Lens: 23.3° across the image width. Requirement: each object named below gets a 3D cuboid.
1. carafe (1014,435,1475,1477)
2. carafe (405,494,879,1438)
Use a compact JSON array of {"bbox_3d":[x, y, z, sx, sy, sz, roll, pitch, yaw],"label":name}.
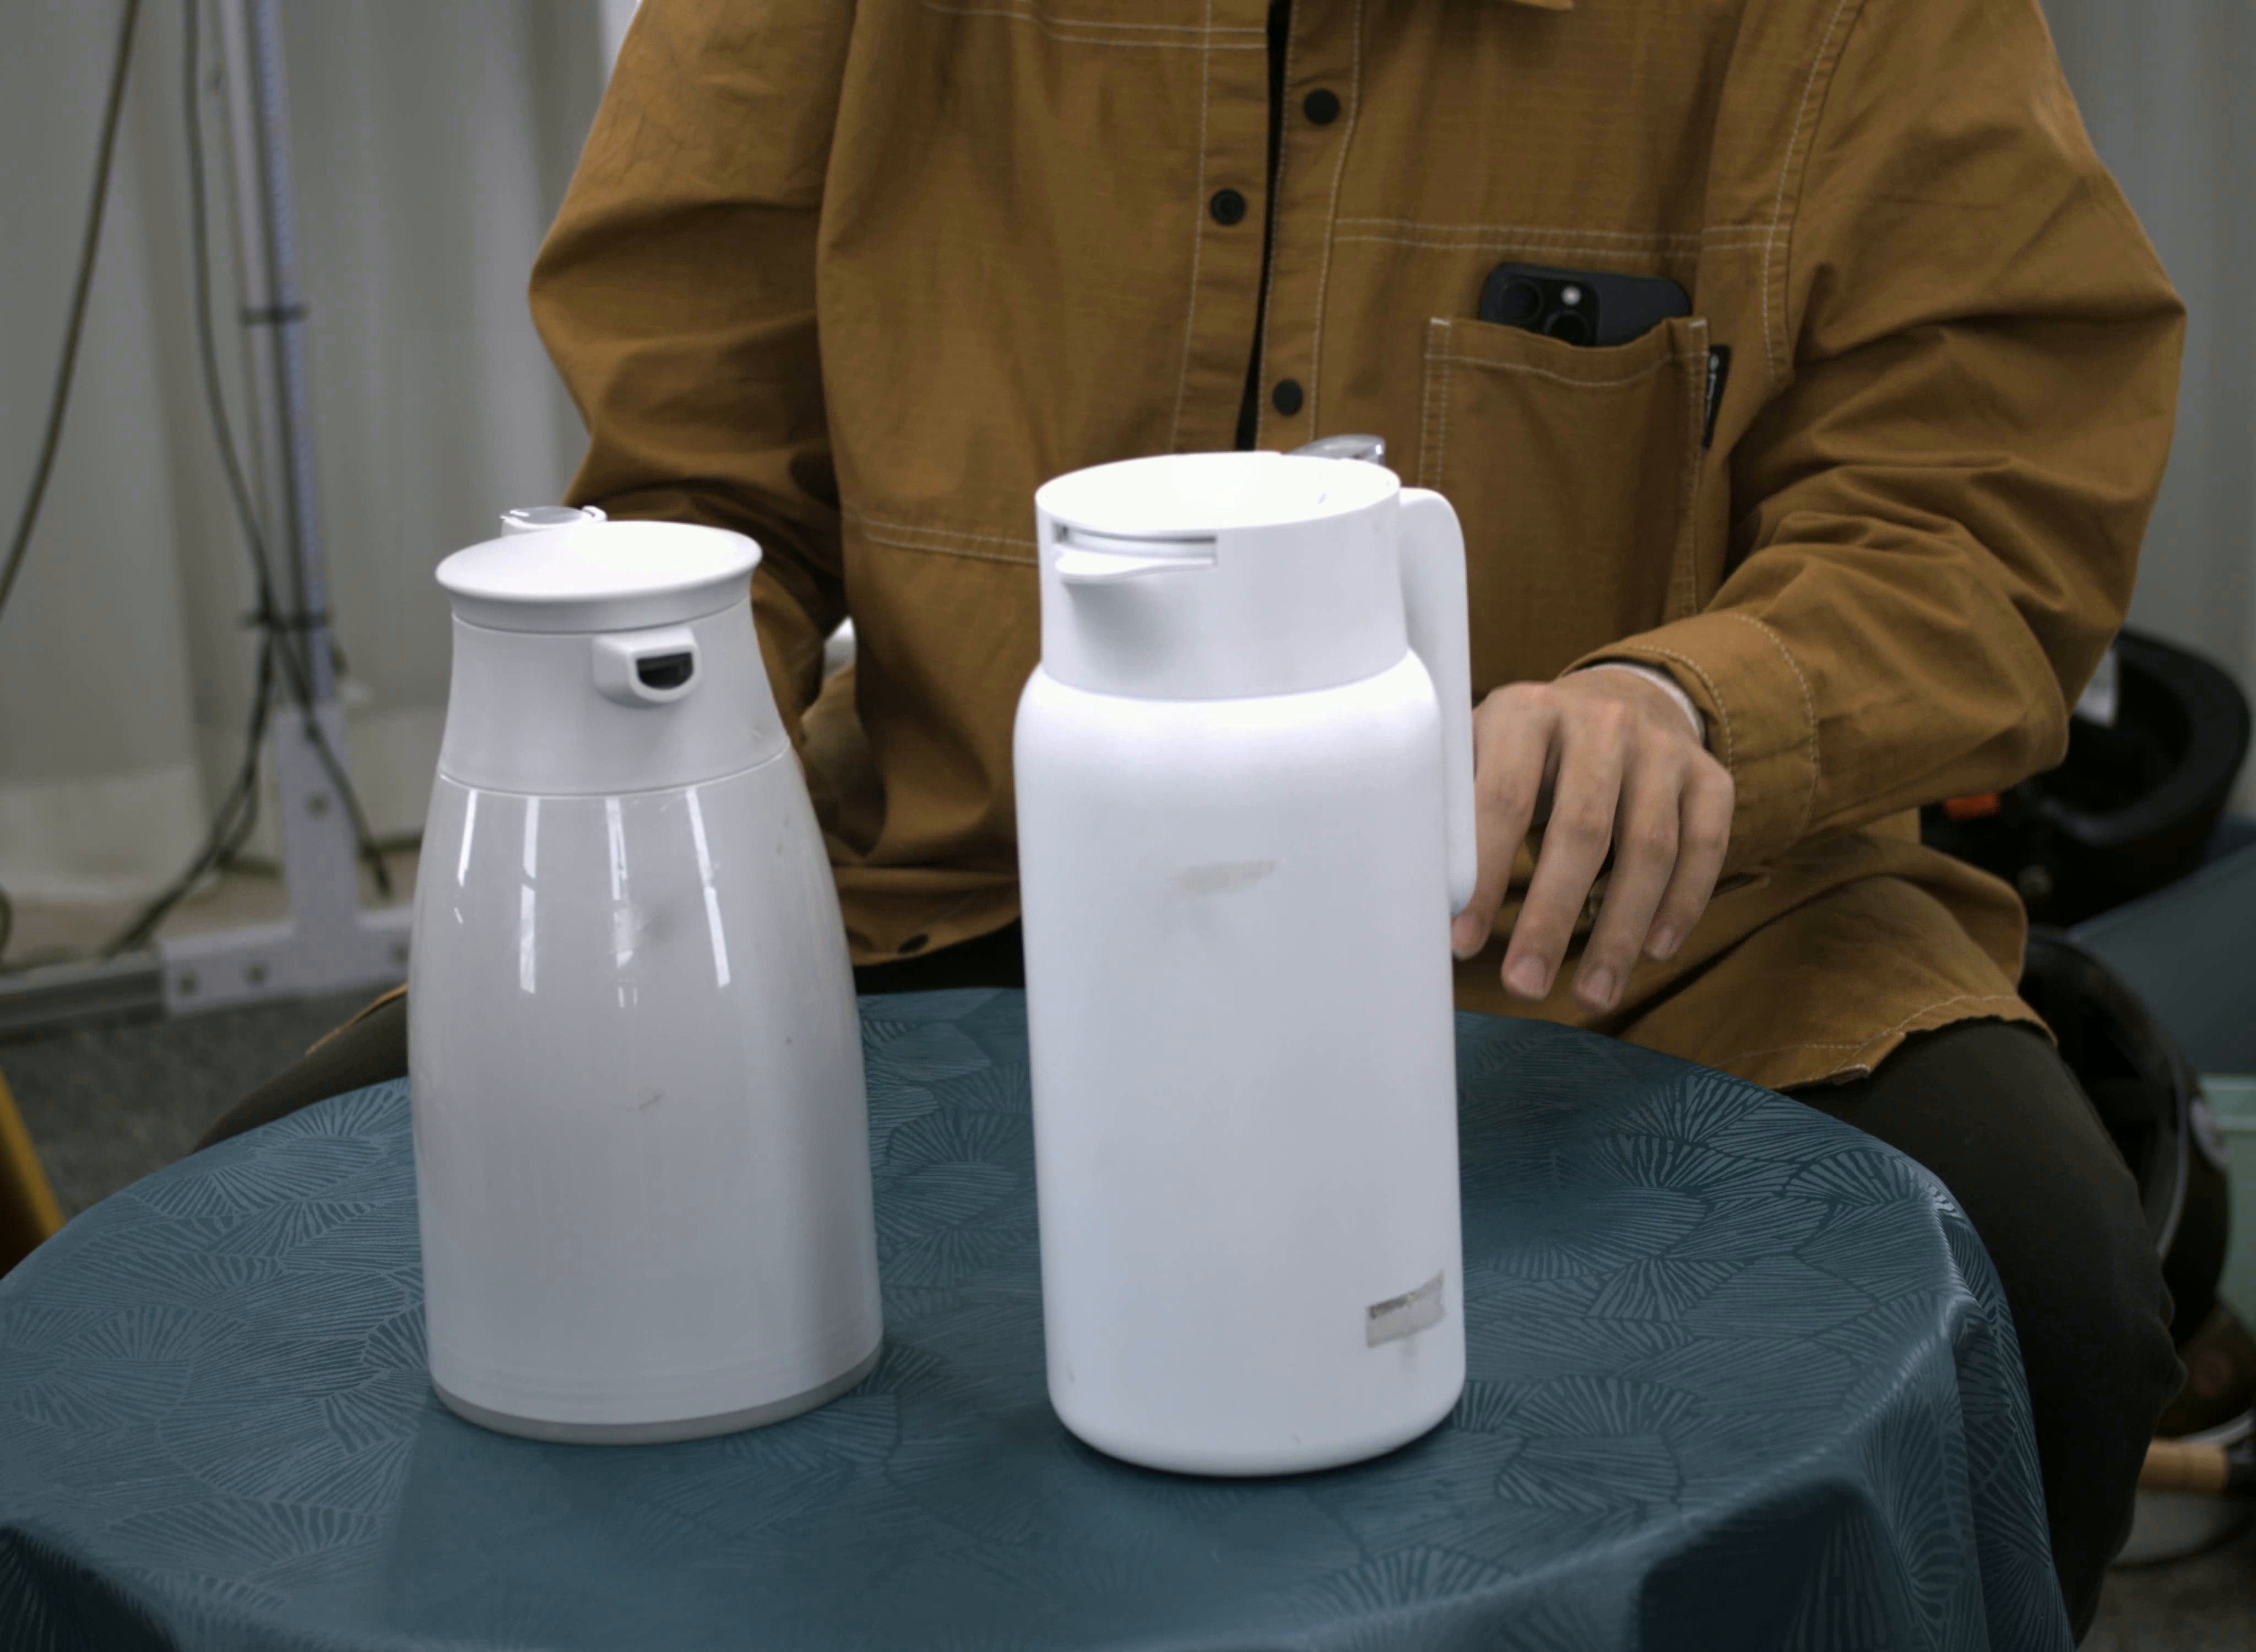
[{"bbox_3d":[0.039,0.031,1.506,0.124,0.268,0.173,4,15,34],"label":"carafe"},{"bbox_3d":[-0.150,0.031,1.572,0.132,0.248,0.169,-7,13,-19],"label":"carafe"}]
